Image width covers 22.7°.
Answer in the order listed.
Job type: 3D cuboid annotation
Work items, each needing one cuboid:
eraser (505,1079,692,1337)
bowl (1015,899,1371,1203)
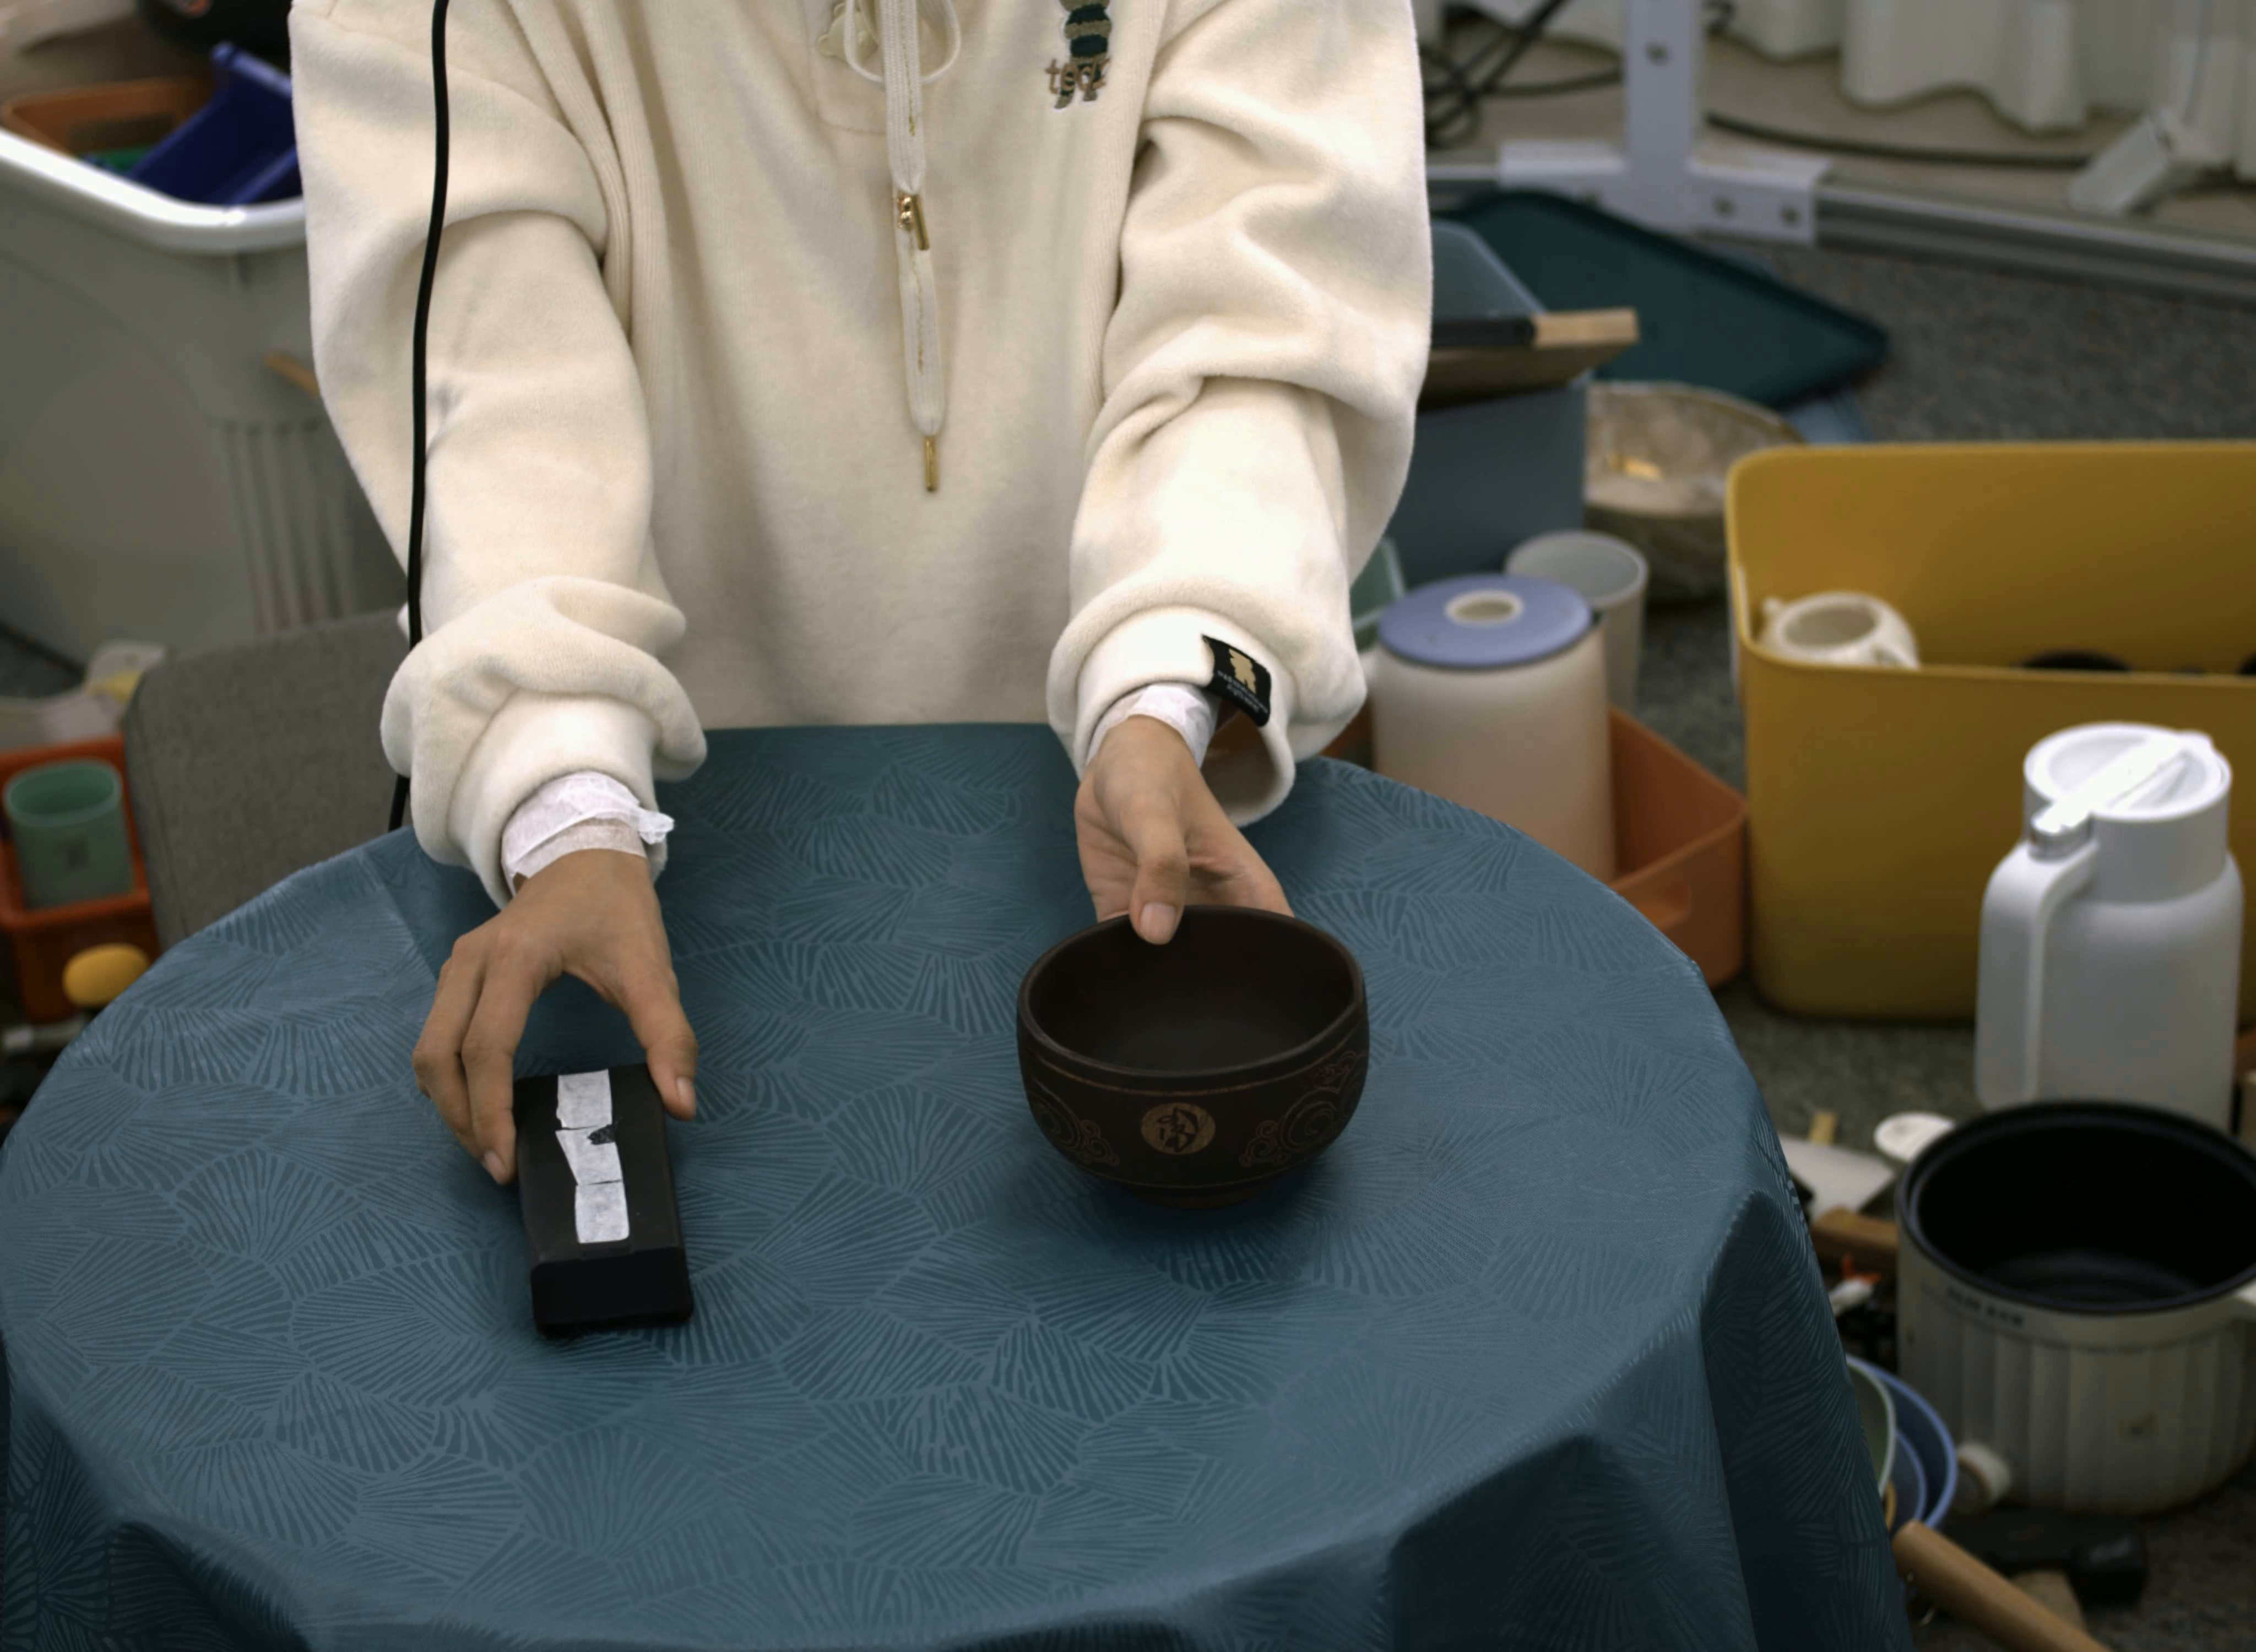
[{"bbox_3d":[-0.174,0.125,1.844,0.053,0.030,0.127,-6,25,-7],"label":"eraser"},{"bbox_3d":[0.022,0.081,1.859,0.117,0.069,0.120,-3,26,2],"label":"bowl"}]
